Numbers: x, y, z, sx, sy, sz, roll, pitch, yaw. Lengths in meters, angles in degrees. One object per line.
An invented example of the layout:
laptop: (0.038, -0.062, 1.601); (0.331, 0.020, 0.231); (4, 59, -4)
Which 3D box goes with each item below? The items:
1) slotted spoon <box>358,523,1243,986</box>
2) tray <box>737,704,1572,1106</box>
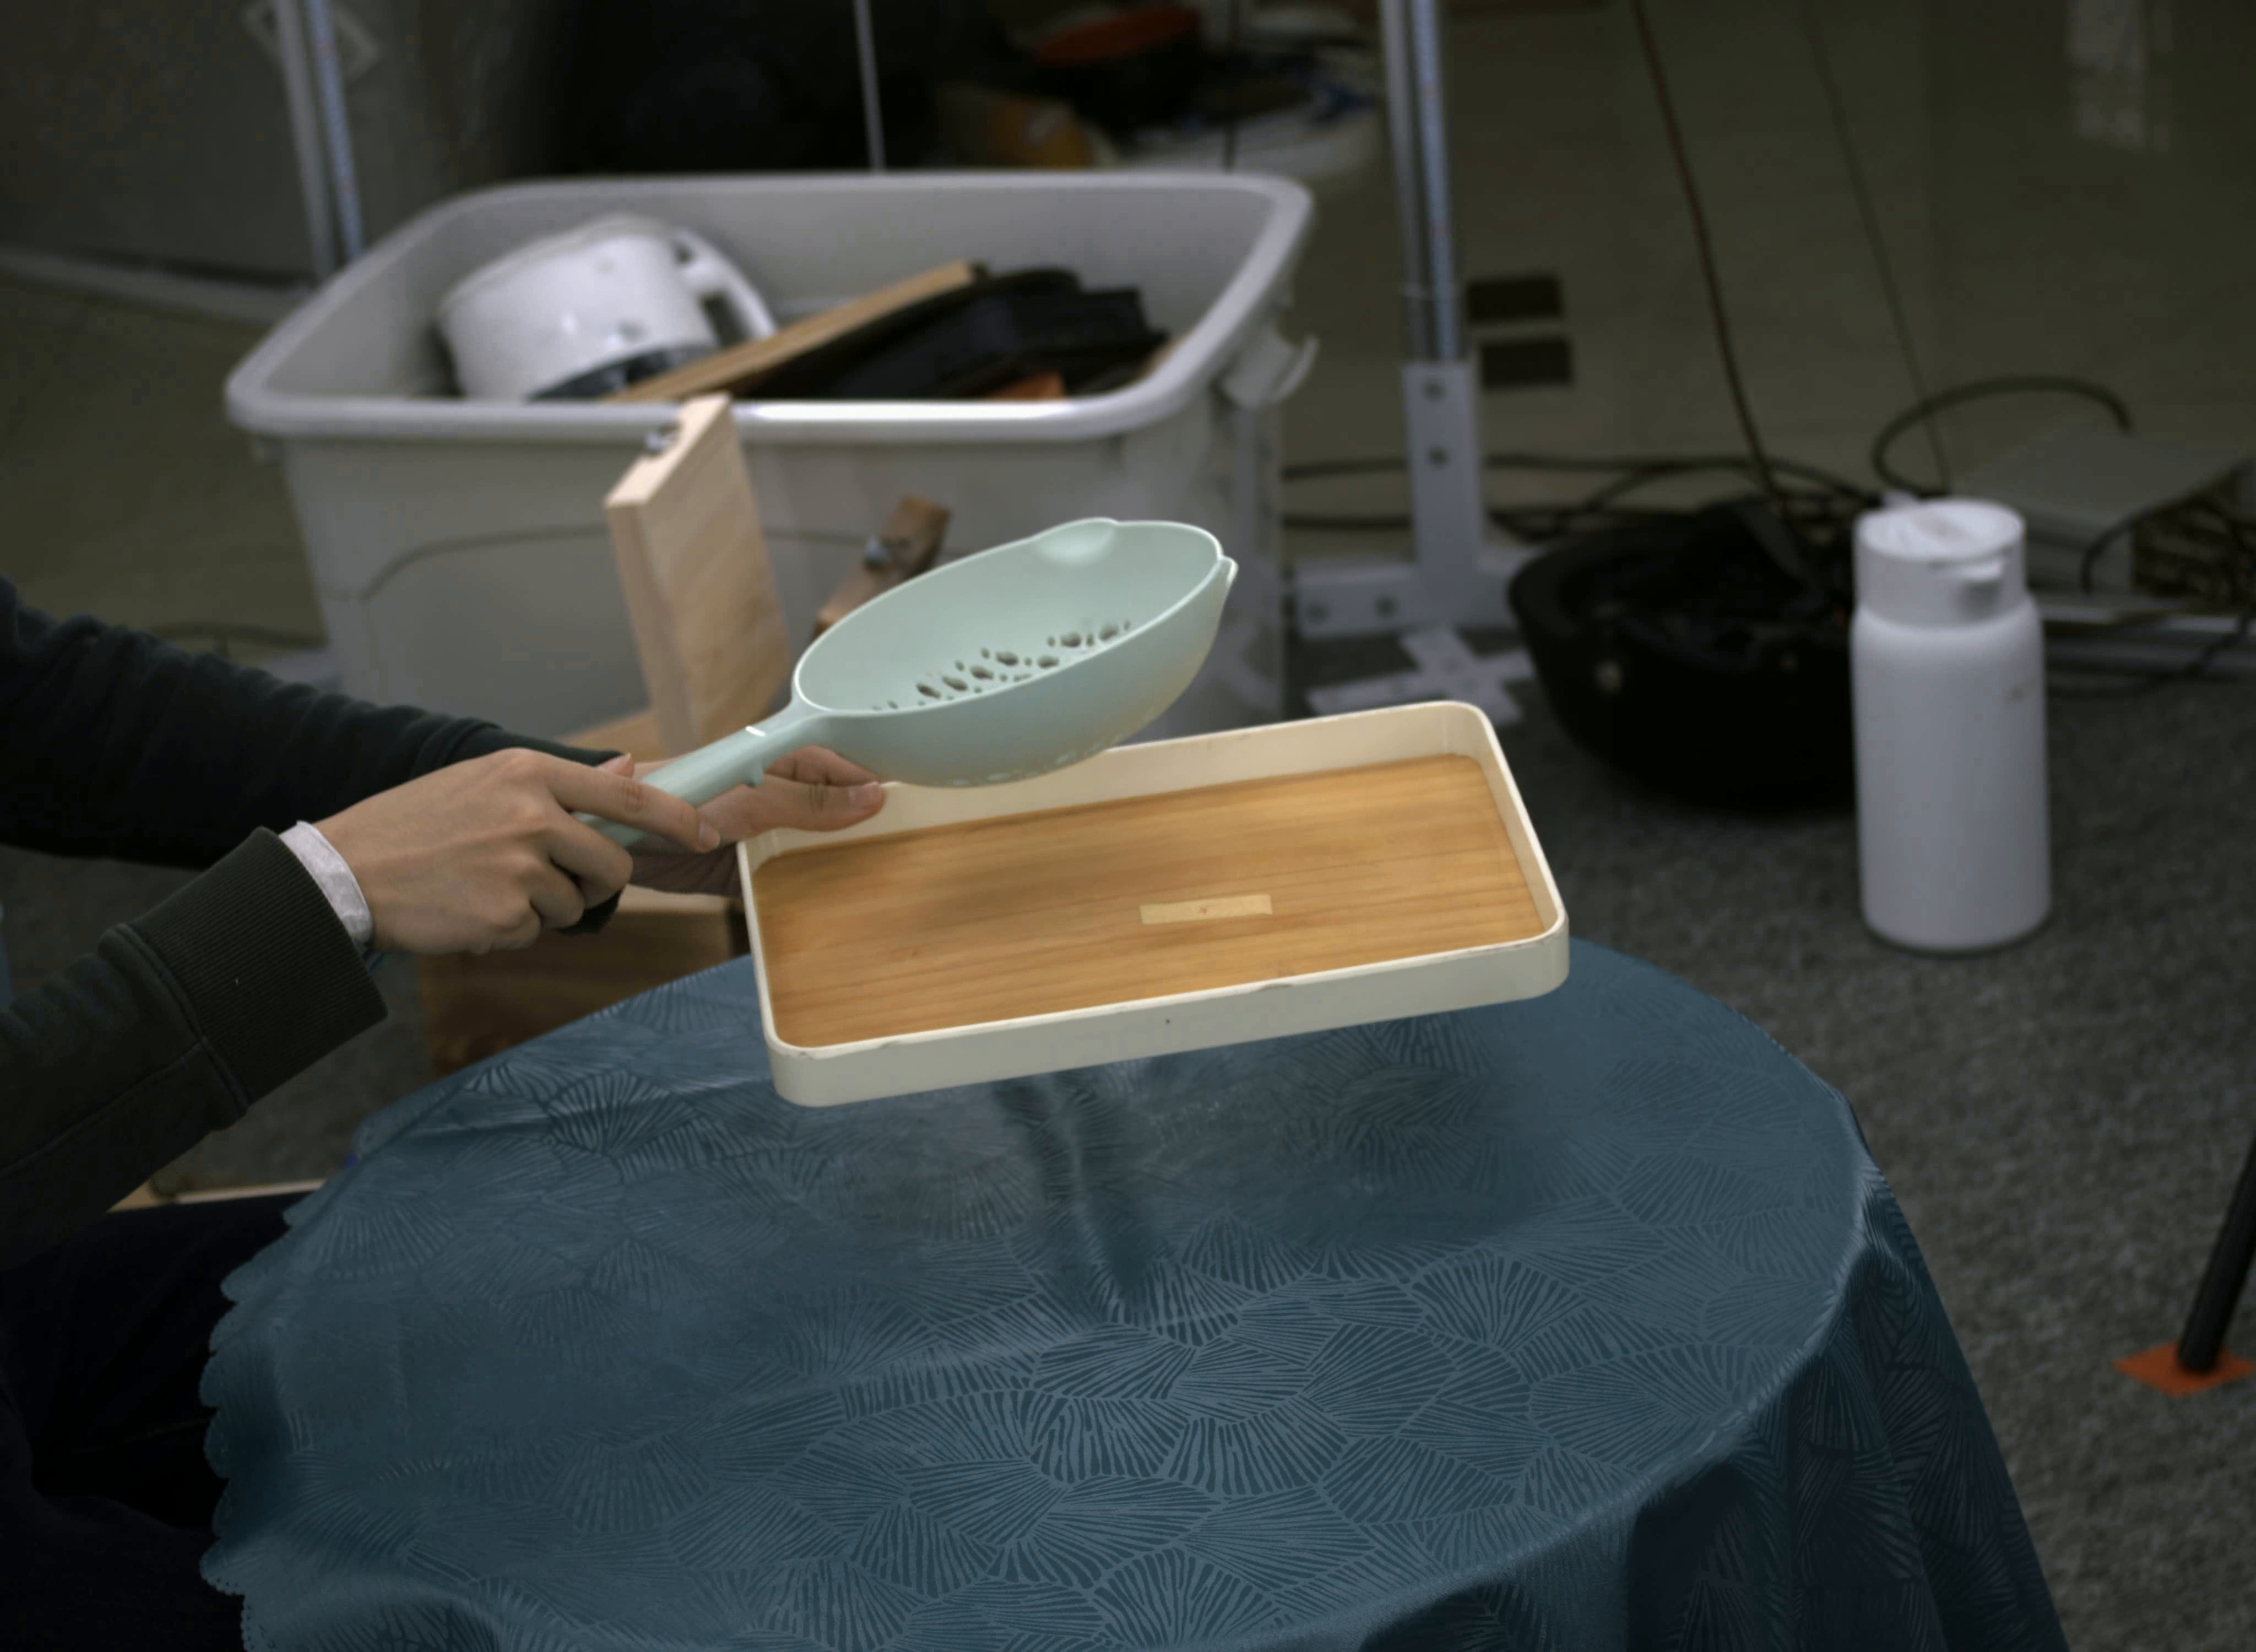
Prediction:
slotted spoon: (-0.124, -0.027, 2.095); (0.357, 0.076, 0.168); (-17, 18, -22)
tray: (0.006, 0.028, 2.150); (0.300, 0.028, 0.188); (-8, 31, -4)
